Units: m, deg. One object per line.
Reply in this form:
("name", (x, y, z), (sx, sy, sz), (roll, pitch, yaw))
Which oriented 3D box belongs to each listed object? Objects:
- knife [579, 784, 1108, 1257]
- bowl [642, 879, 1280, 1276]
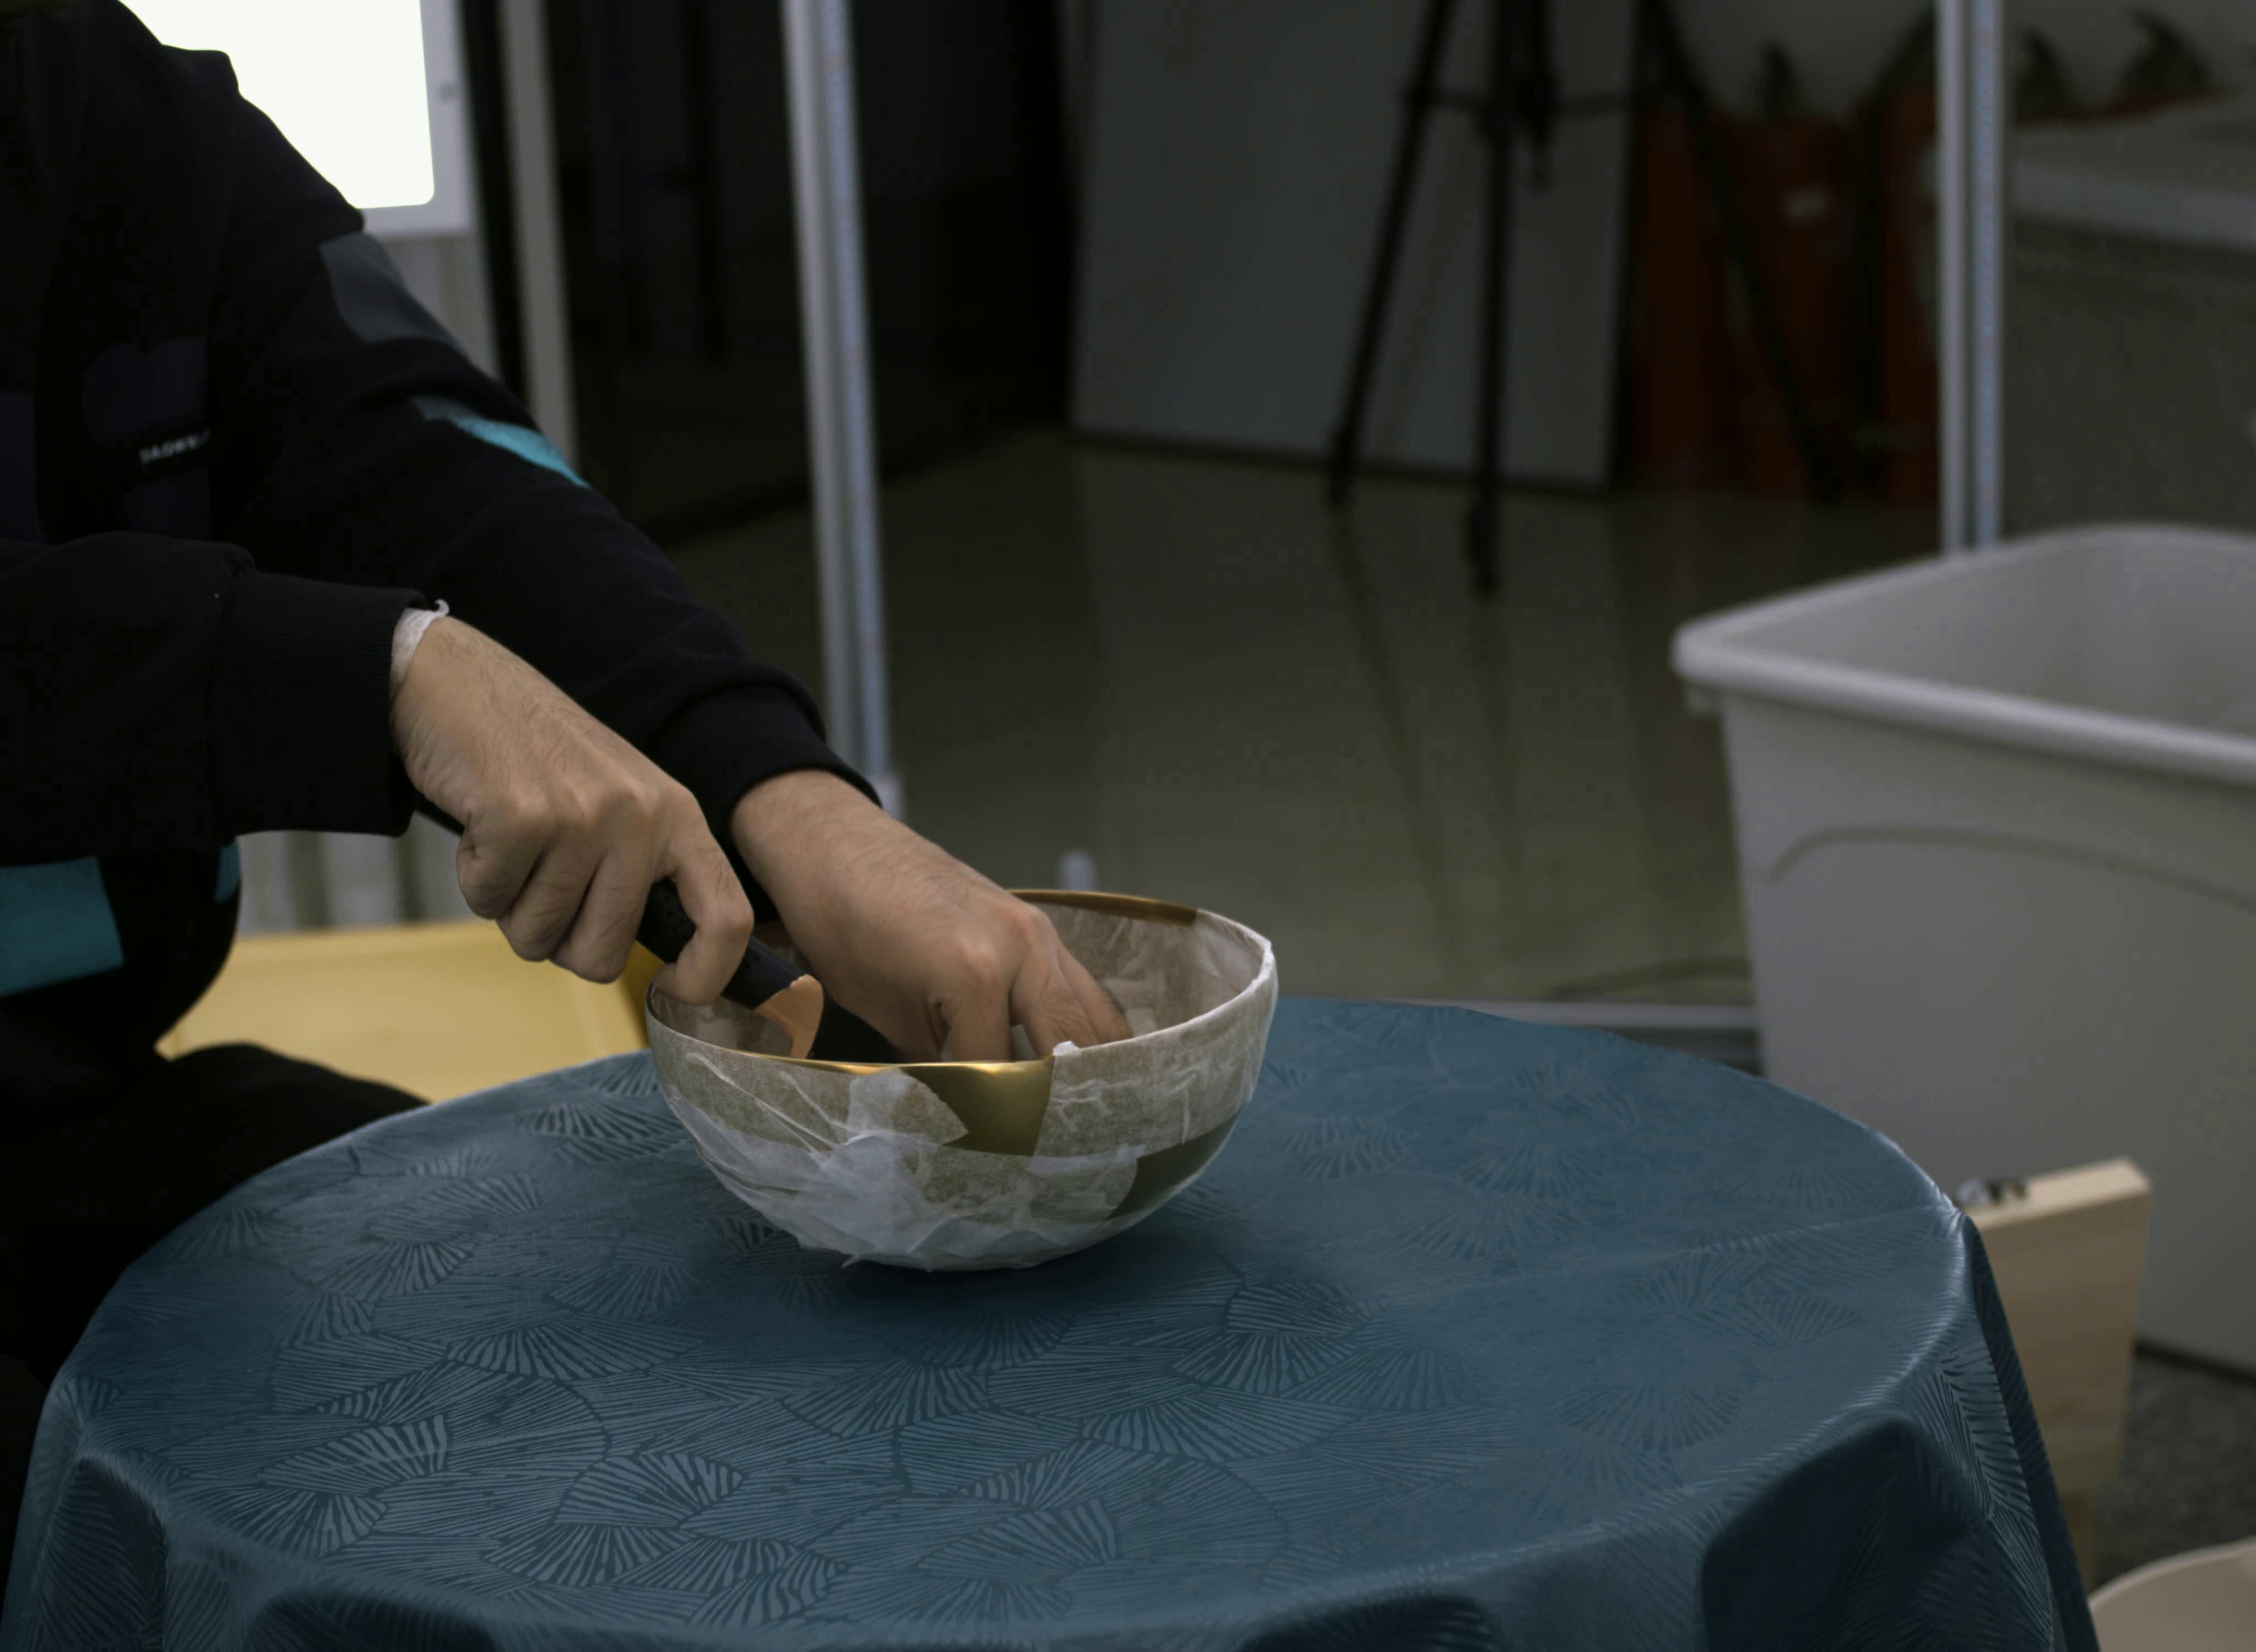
("knife", (-0.089, 0.060, 1.709), (0.226, 0.017, 0.026), (39, 51, 12))
("bowl", (-0.052, 0.087, 1.723), (0.212, 0.095, 0.215), (-5, 15, 0))
